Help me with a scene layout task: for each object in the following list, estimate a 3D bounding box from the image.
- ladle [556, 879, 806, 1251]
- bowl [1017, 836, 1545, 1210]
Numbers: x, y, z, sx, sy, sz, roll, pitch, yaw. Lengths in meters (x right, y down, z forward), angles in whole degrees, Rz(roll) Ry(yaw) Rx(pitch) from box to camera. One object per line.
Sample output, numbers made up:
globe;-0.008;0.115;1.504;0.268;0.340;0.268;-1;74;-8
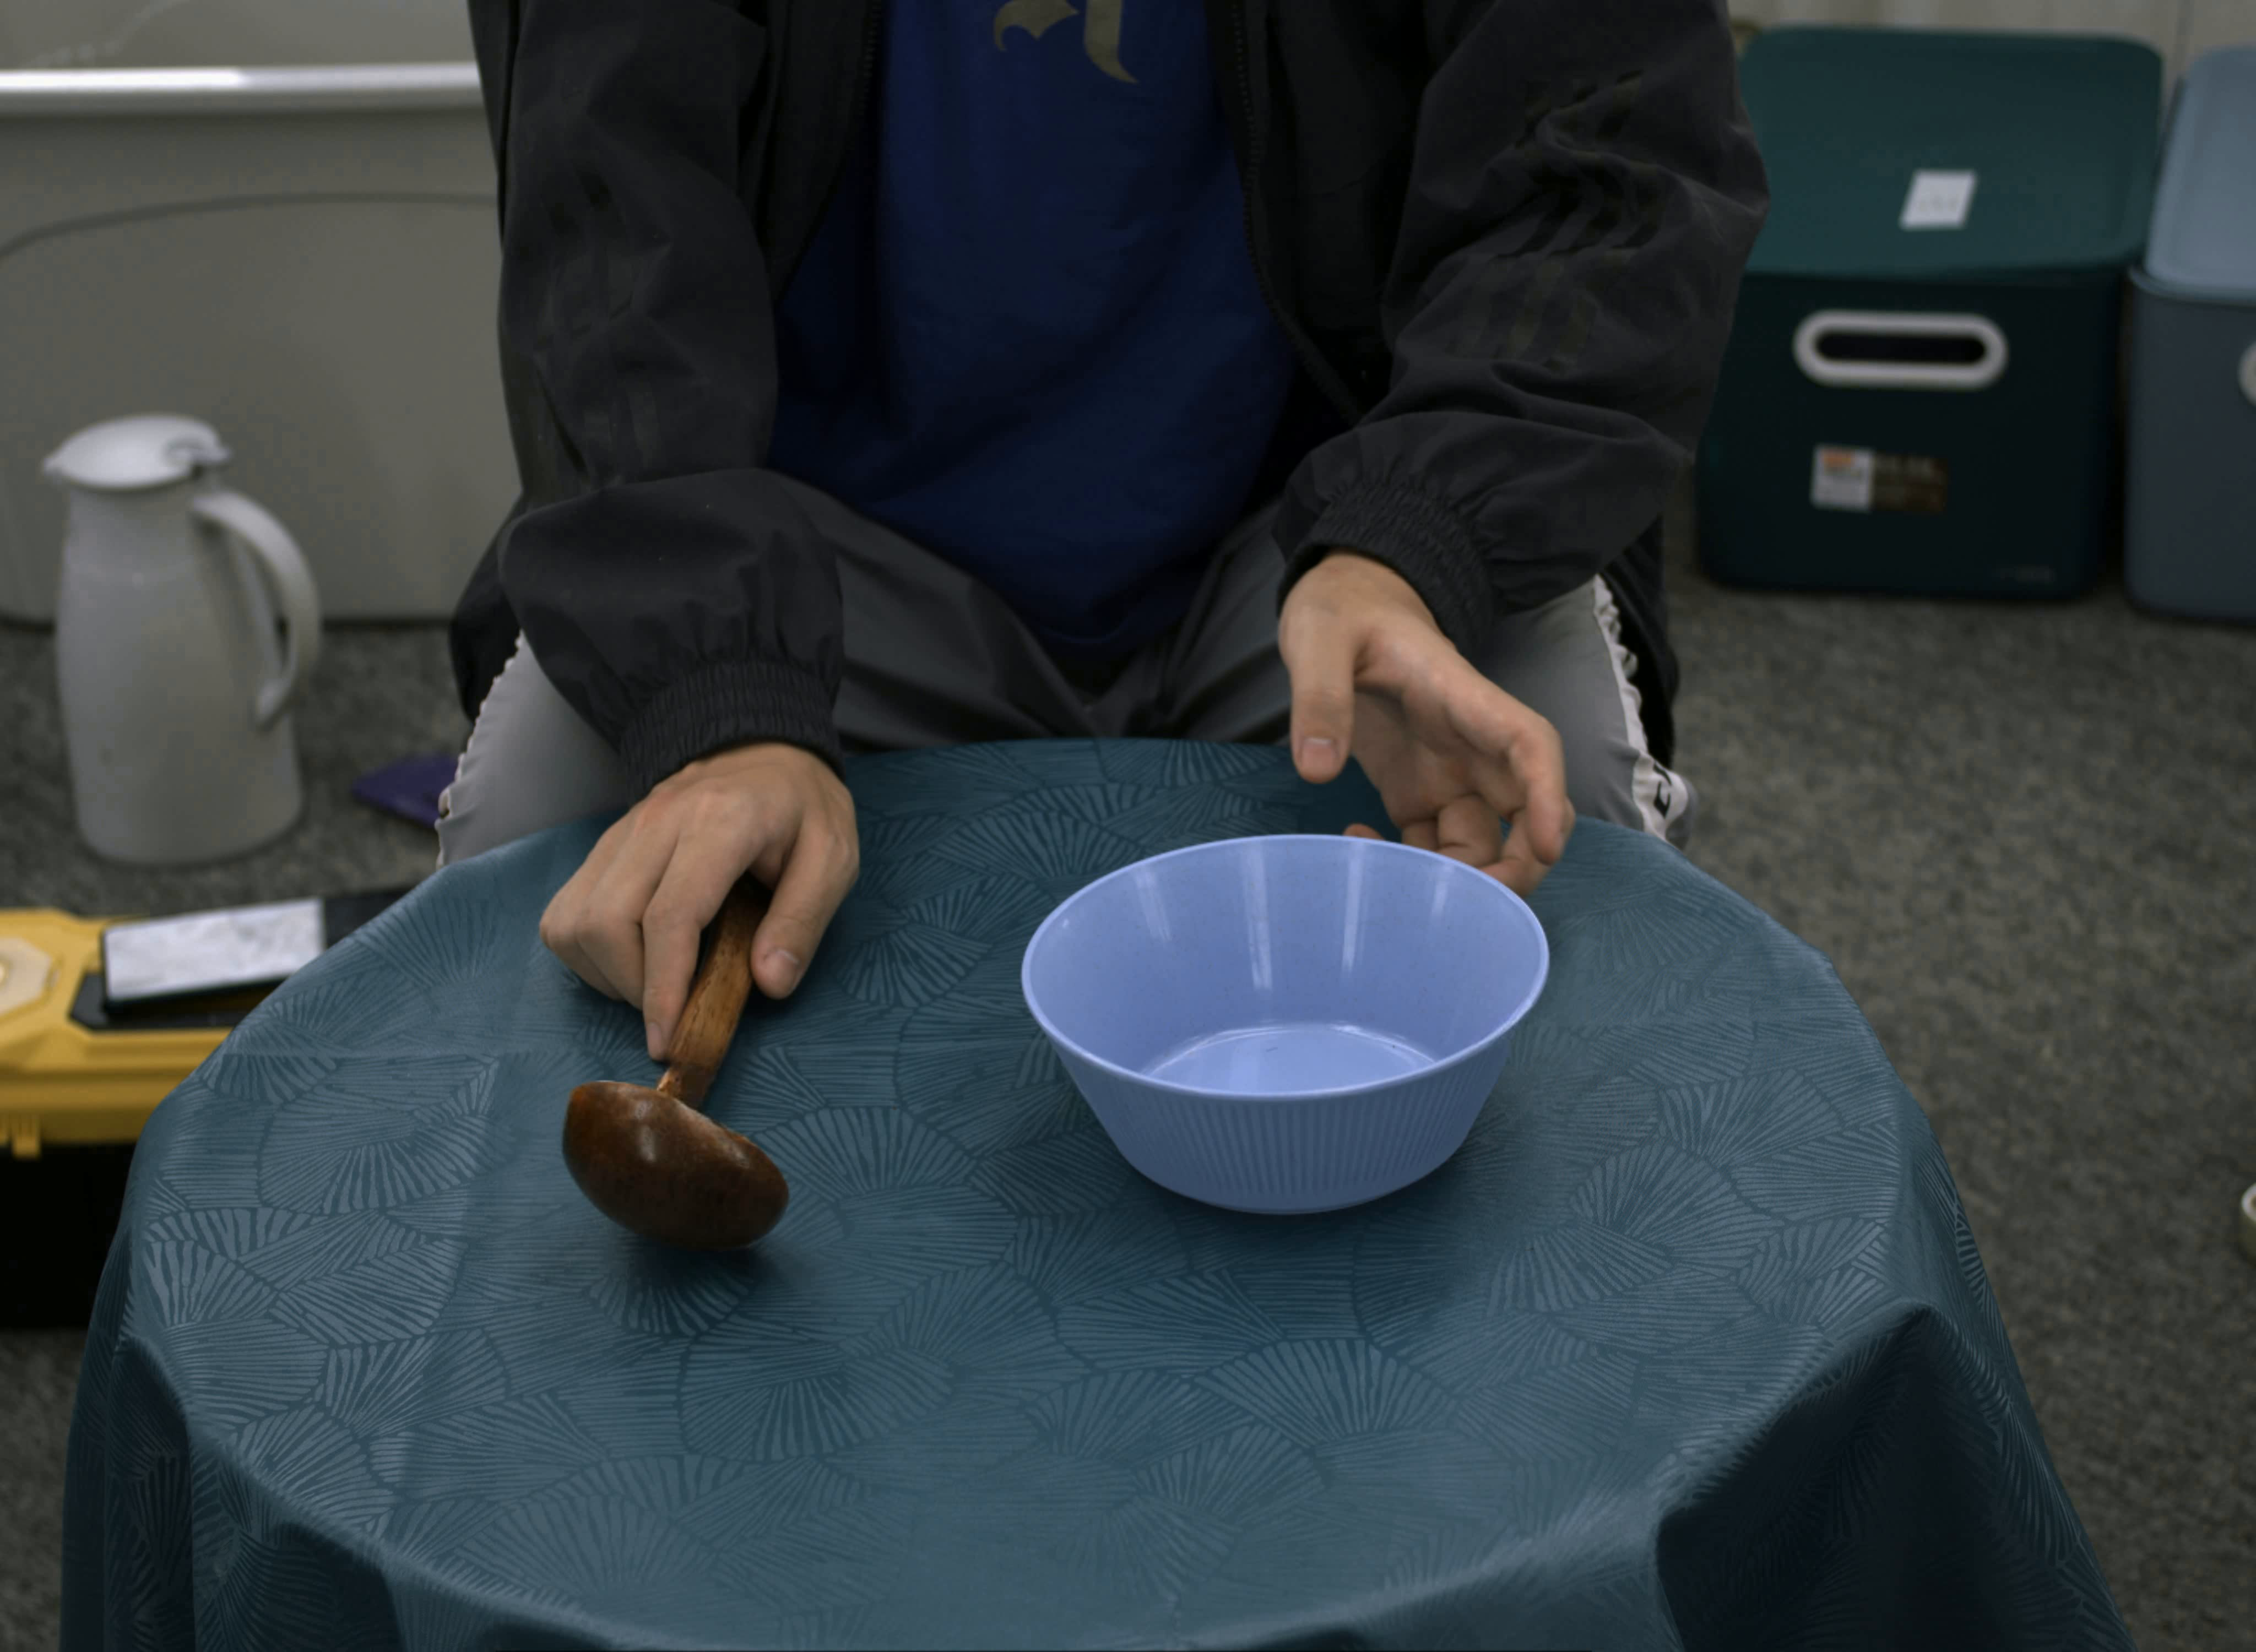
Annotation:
ladle;-0.133;0.062;1.914;0.081;0.075;0.278;39;26;-9
bowl;0.052;0.071;1.877;0.175;0.069;0.179;-2;27;1
